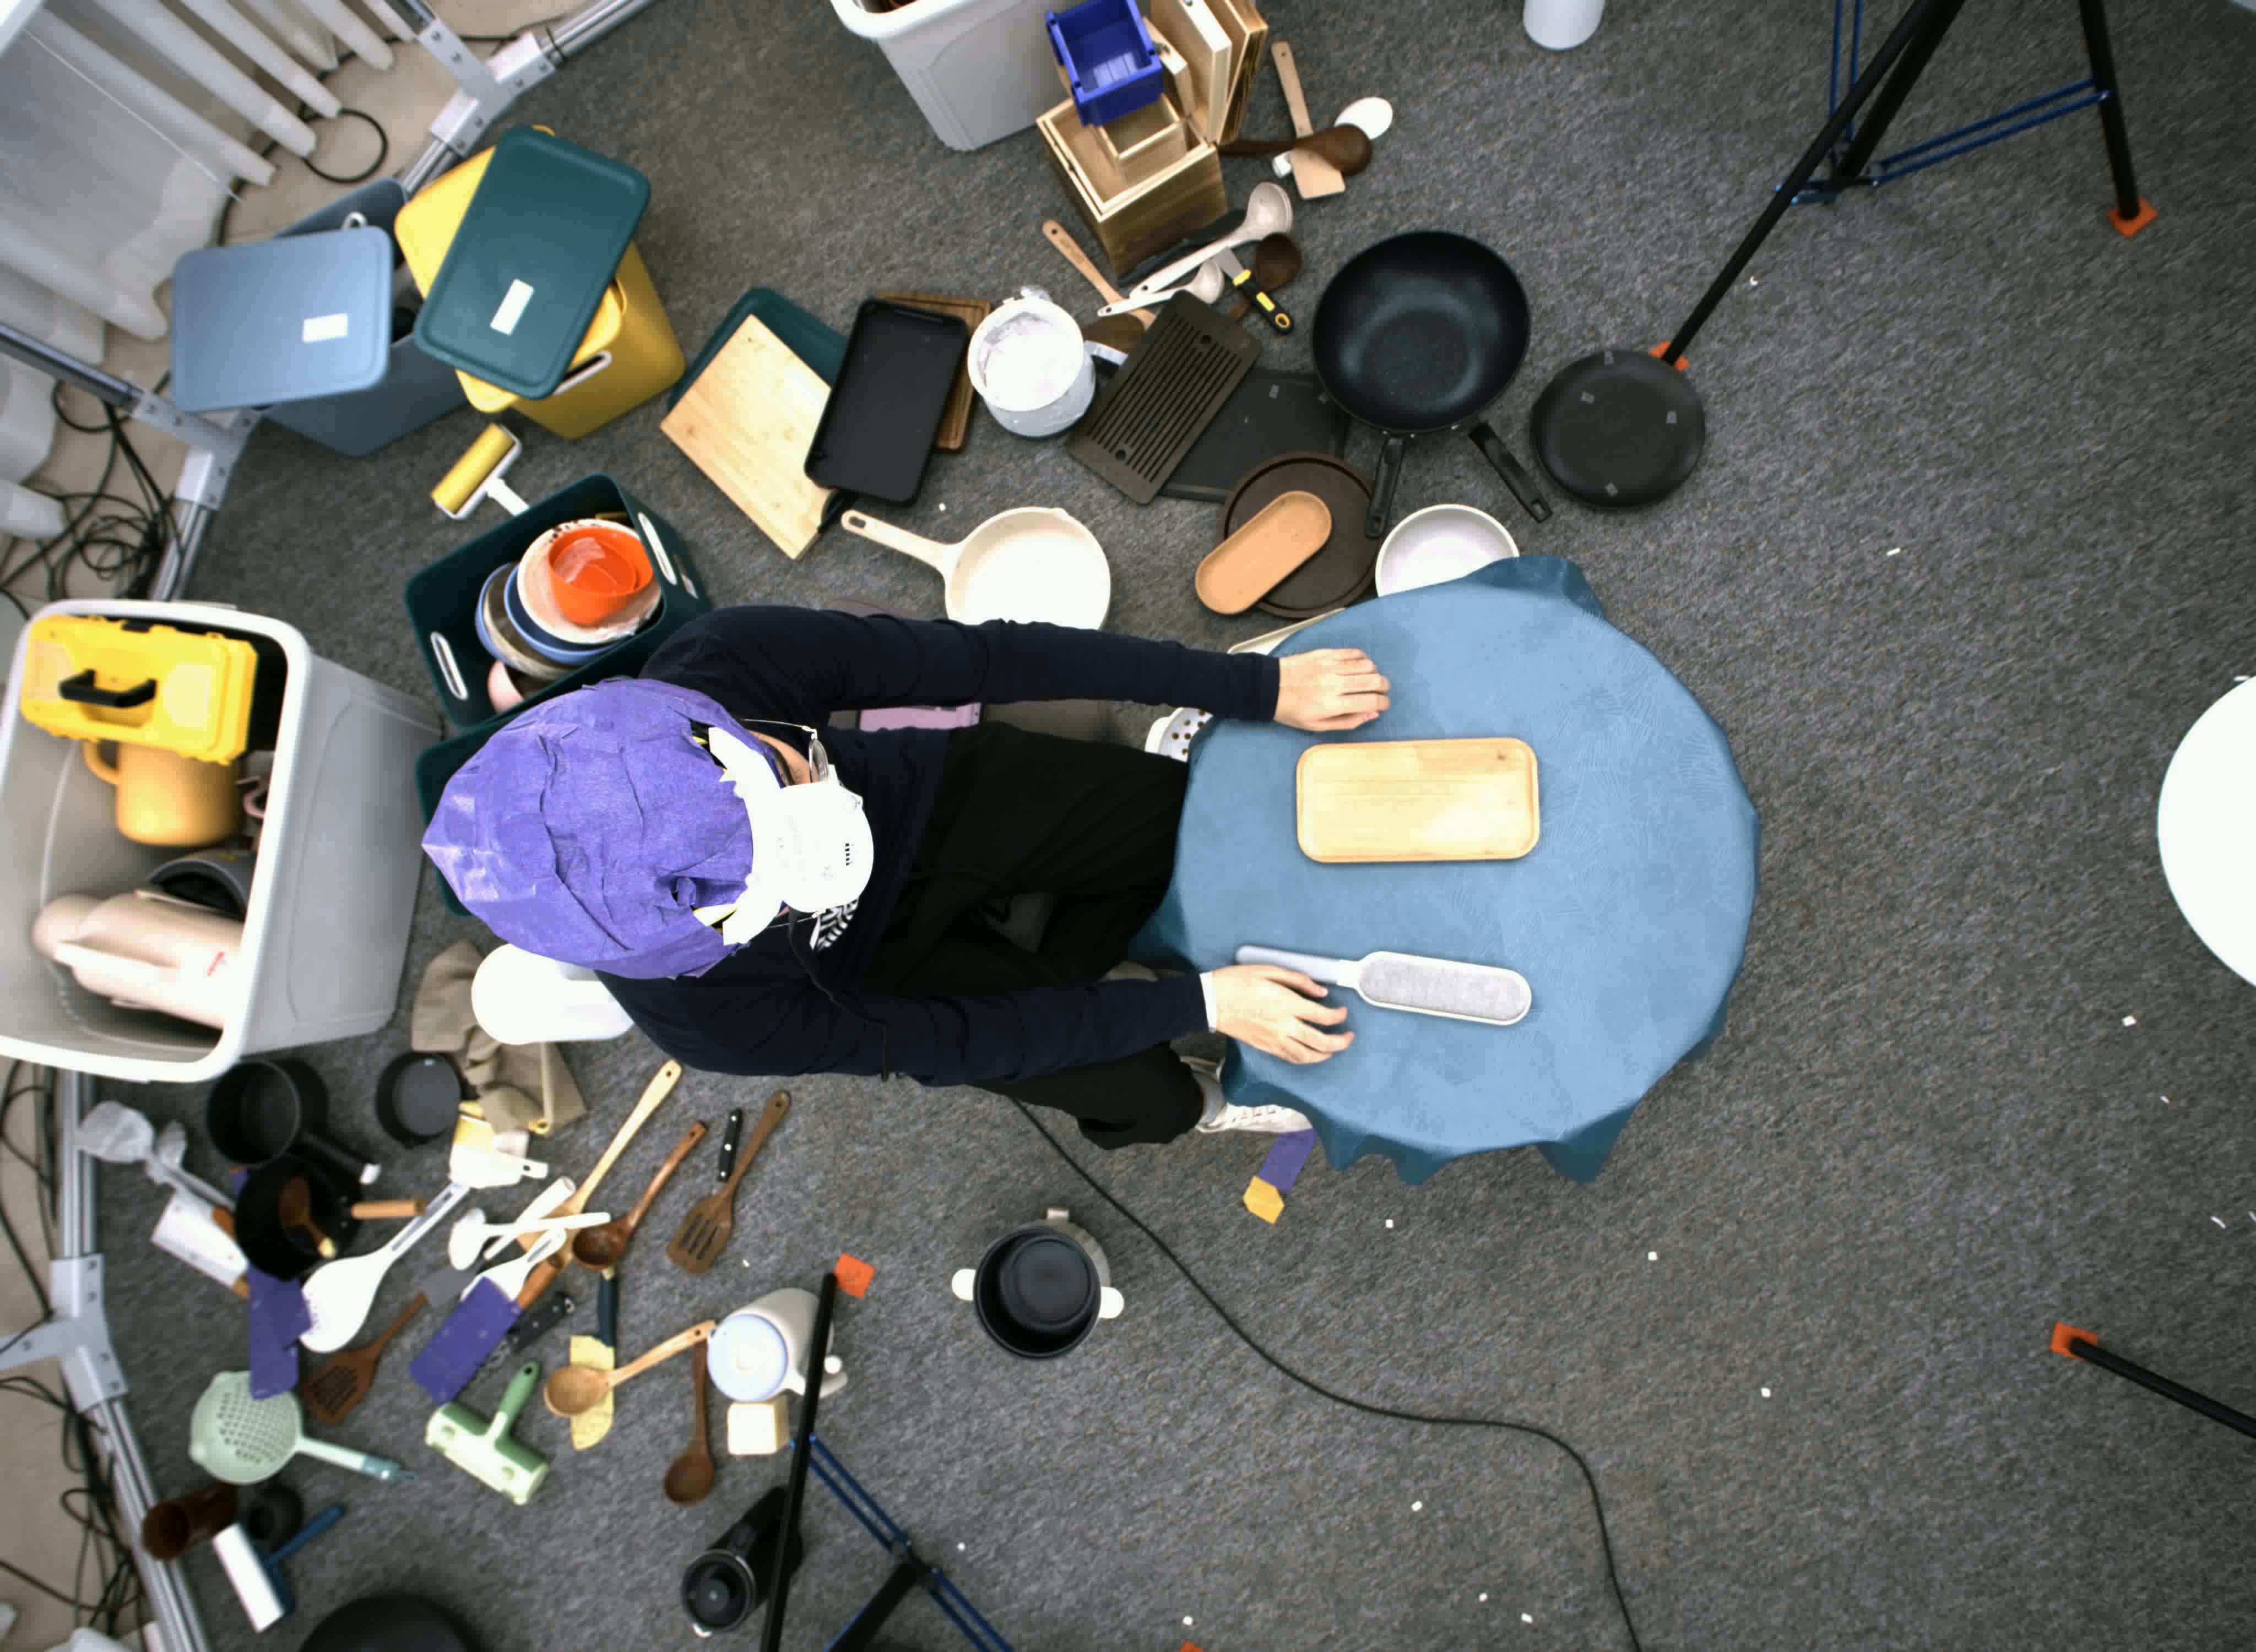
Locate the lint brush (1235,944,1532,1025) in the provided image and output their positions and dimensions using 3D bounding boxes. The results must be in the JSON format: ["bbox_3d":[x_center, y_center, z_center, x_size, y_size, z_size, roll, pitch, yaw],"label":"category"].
[{"bbox_3d":[0.264,0.156,1.443,0.309,0.021,0.060,8,93,11],"label":"lint brush"}]

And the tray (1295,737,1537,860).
[{"bbox_3d":[0.302,-0.030,1.451,0.251,0.023,0.130,1,85,11],"label":"tray"}]
